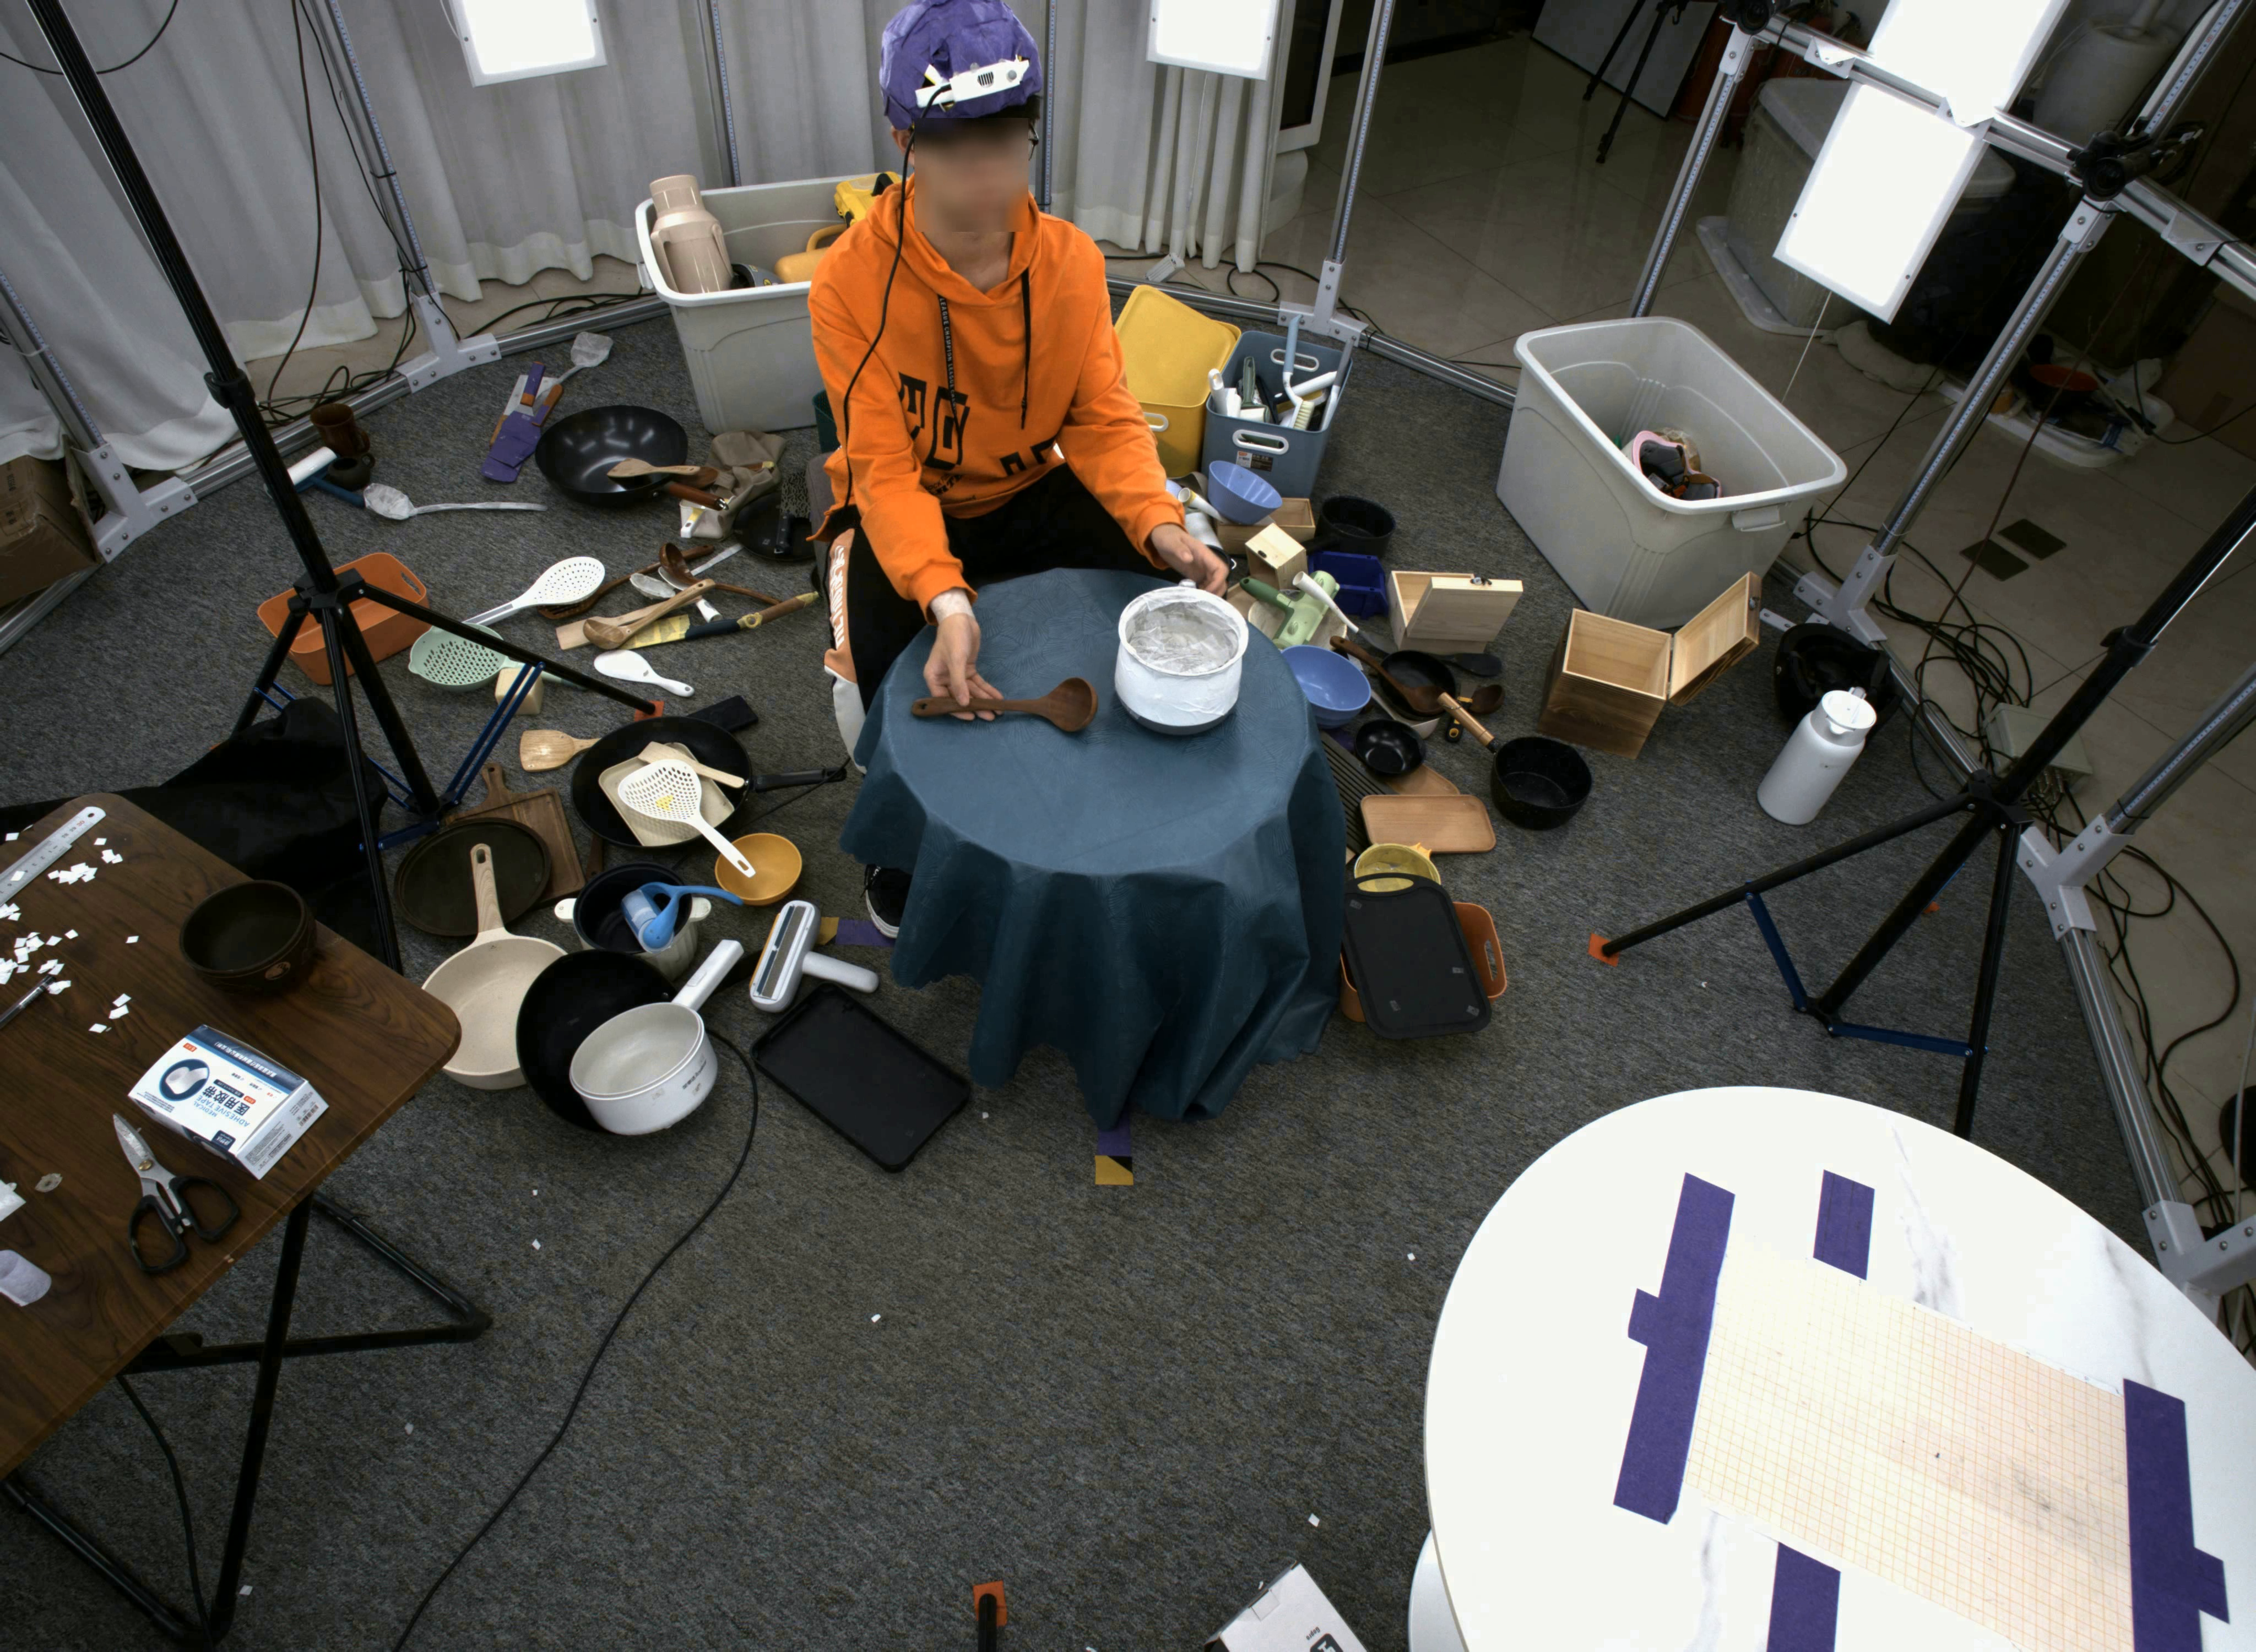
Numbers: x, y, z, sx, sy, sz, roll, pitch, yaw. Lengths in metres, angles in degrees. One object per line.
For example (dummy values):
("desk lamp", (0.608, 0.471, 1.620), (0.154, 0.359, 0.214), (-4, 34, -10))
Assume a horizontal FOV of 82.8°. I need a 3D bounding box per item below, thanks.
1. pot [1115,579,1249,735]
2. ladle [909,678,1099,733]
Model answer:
("pot", (0.073, -0.246, 1.799), (0.178, 0.133, 0.239), (5, 49, 0))
("ladle", (-0.171, -0.168, 1.764), (0.260, 0.064, 0.077), (1, 74, -4))
